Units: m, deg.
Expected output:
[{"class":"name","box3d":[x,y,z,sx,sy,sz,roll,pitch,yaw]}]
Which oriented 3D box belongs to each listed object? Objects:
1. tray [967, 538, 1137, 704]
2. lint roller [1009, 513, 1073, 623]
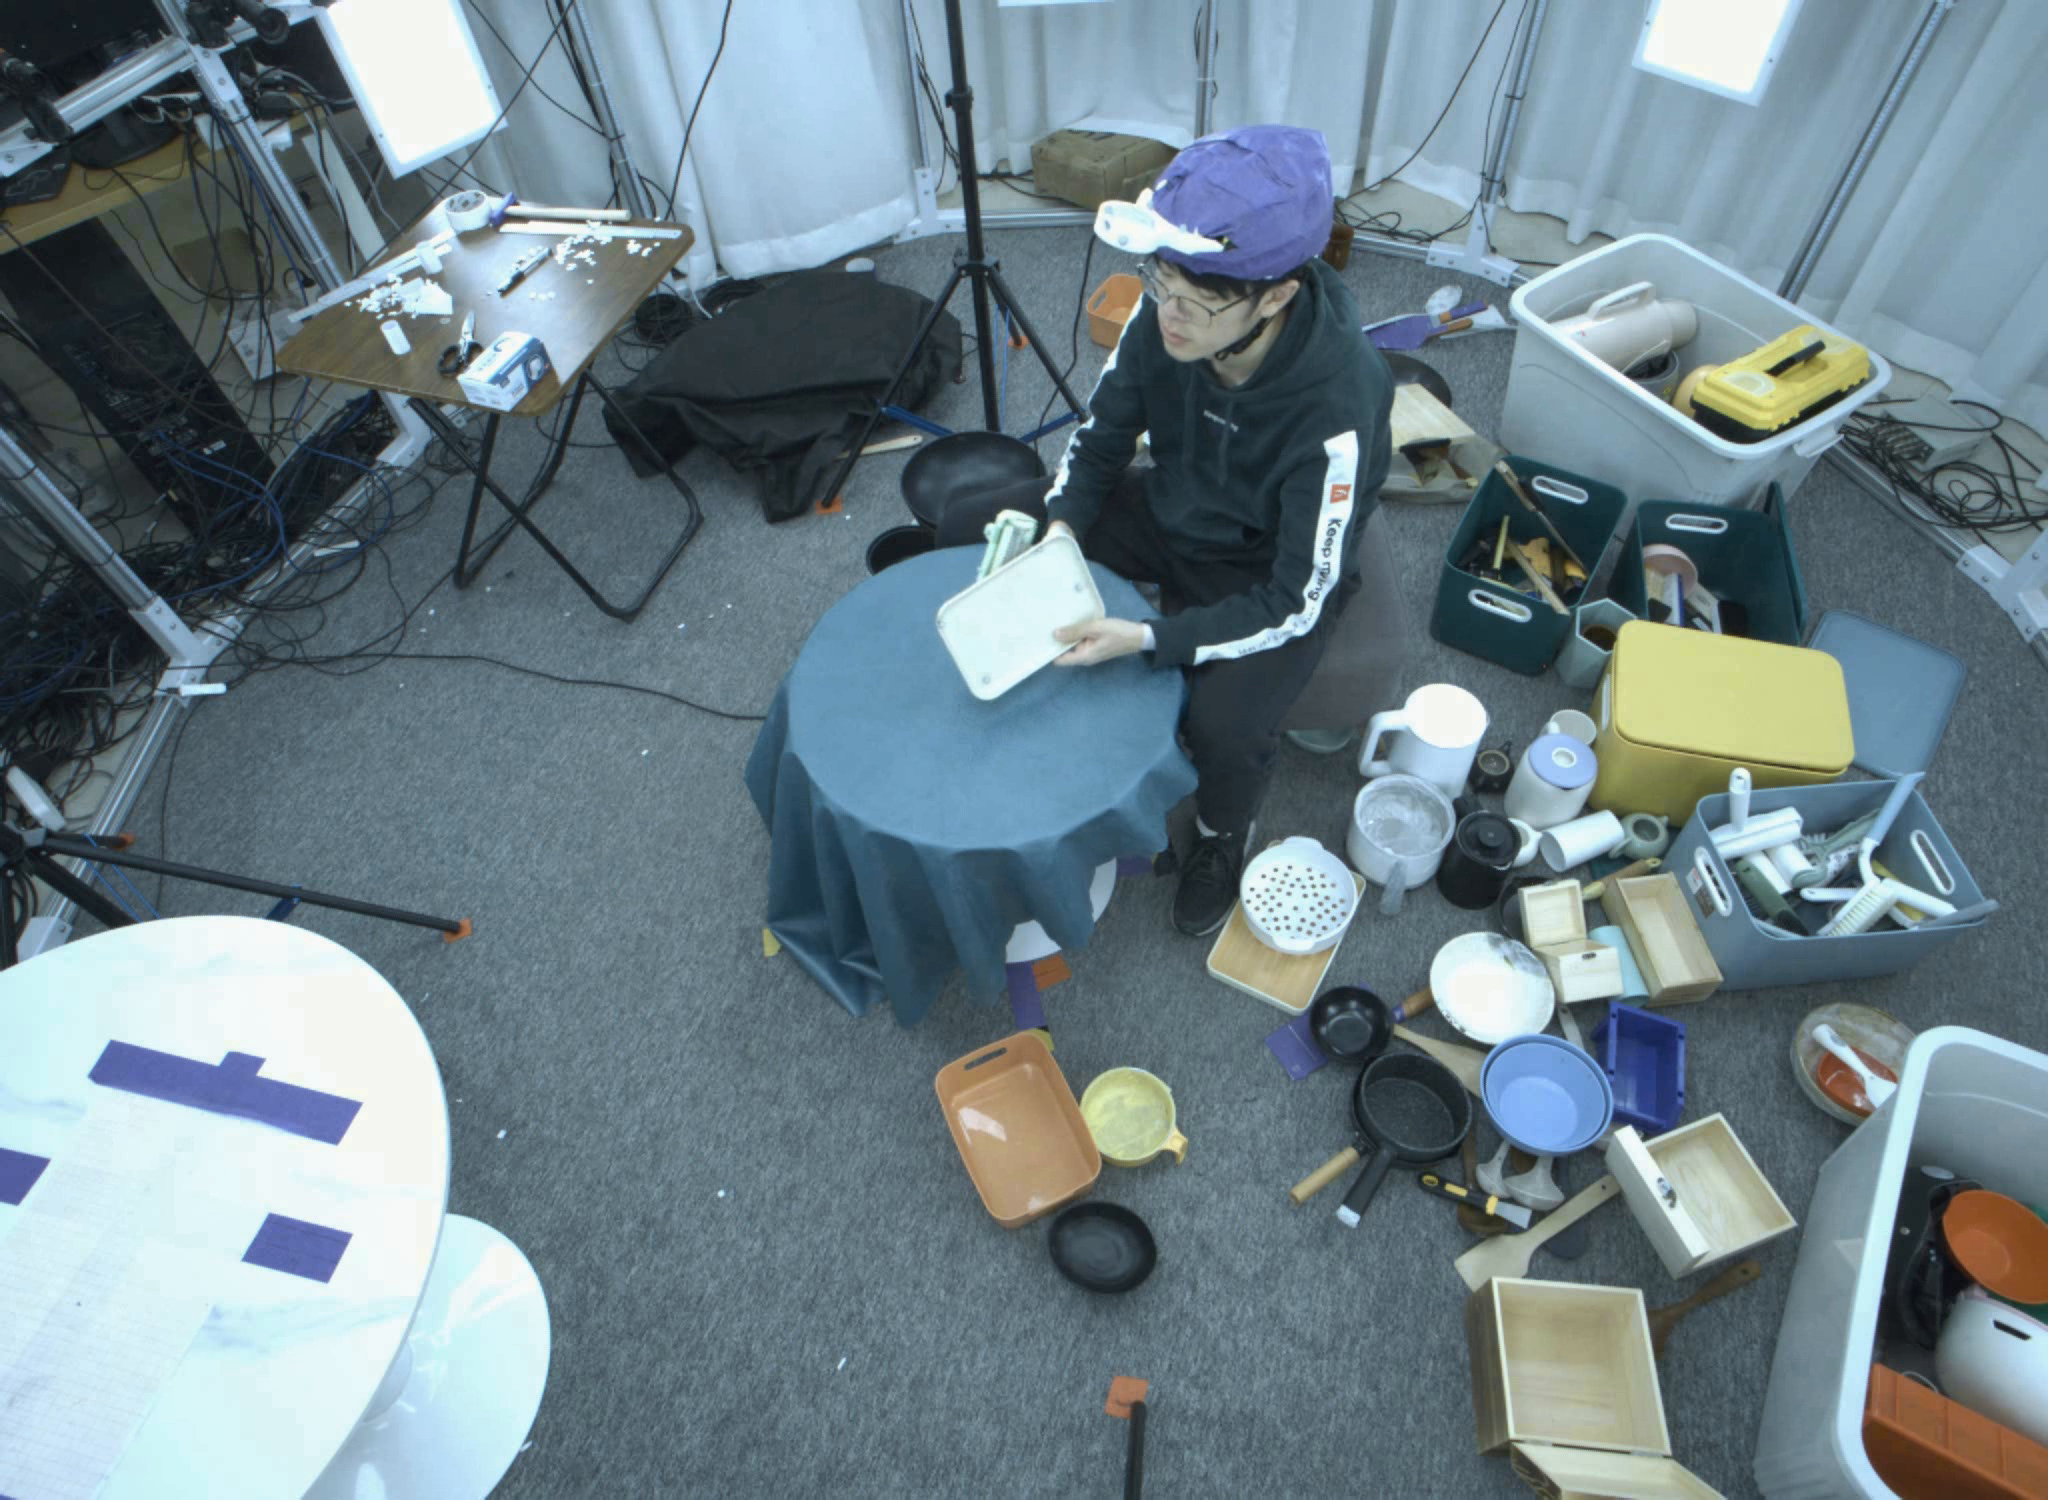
[{"class":"tray","box3d":[0.041,-0.184,1.755,0.241,0.174,0.017,-34,35,-10]},{"class":"lint roller","box3d":[0.030,-0.259,1.810,0.081,0.199,0.185,27,26,16]}]
